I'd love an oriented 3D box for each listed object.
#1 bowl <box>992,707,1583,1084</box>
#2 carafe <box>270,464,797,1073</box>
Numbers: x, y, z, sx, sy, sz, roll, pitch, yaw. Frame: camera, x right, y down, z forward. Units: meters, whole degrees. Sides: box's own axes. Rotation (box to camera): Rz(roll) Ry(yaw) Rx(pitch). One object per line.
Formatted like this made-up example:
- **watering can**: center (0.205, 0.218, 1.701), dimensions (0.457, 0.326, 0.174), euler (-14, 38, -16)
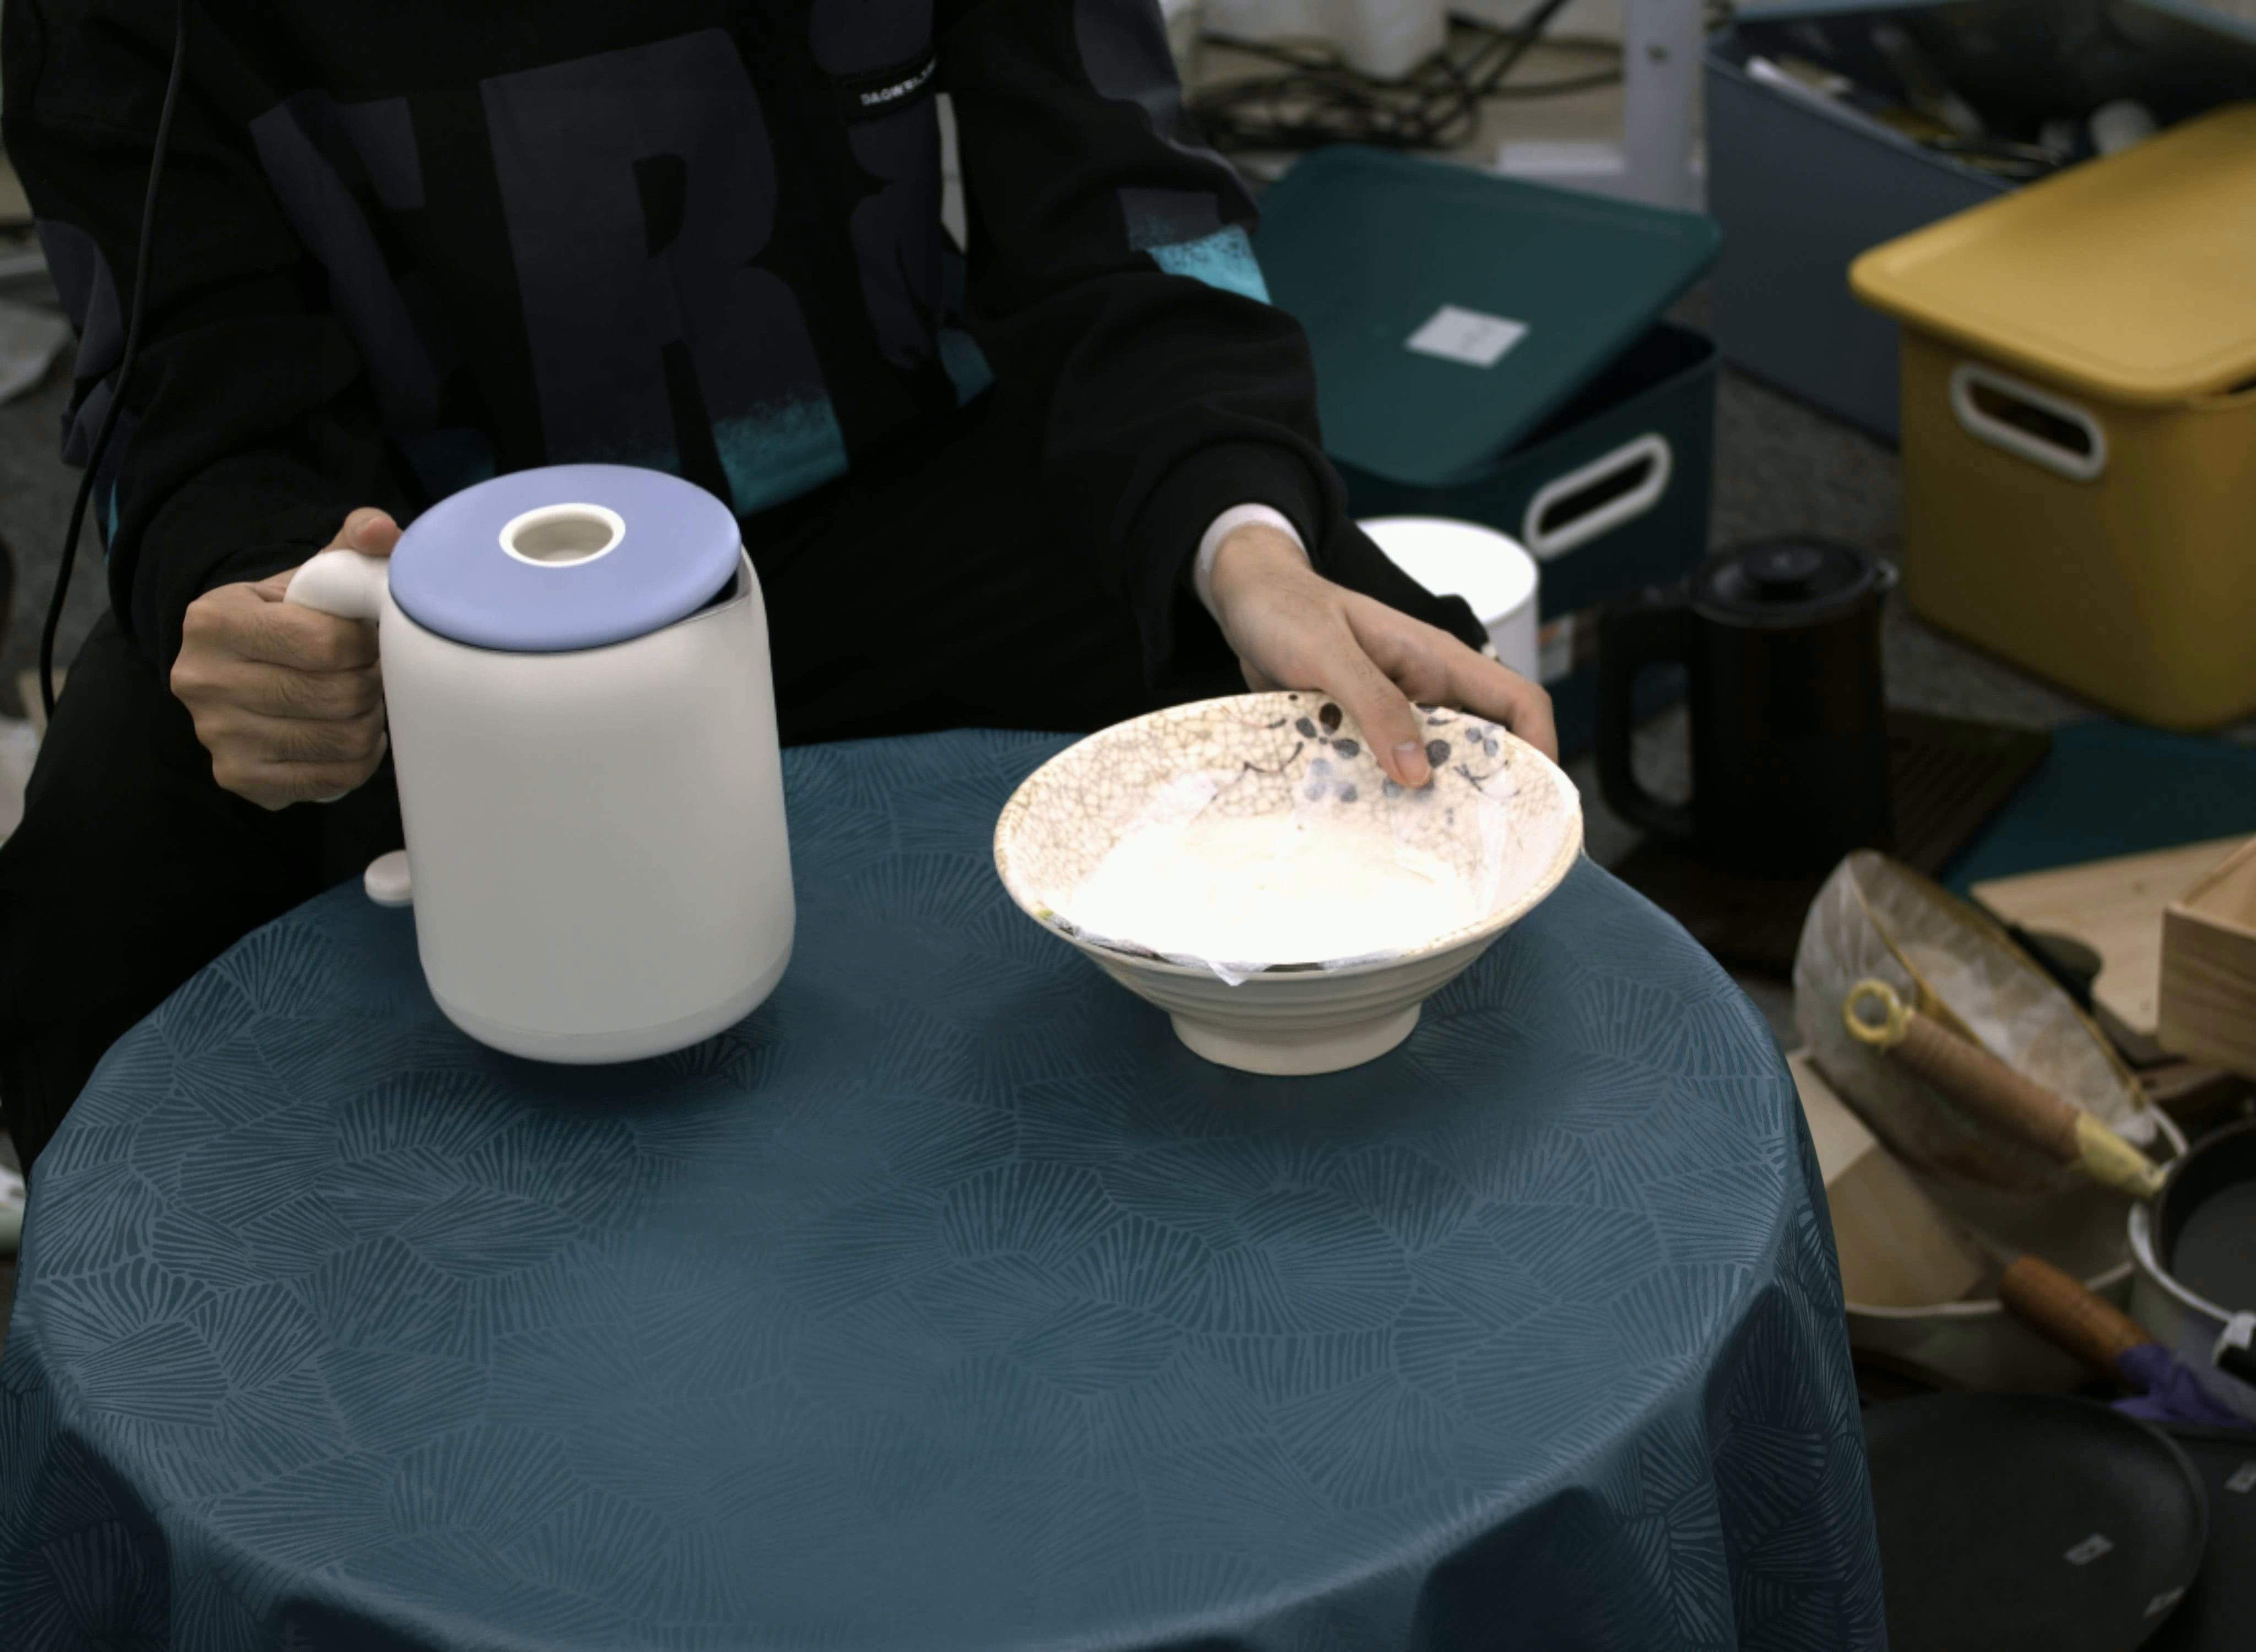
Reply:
- **bowl**: center (0.056, 0.035, 1.940), dimensions (0.203, 0.077, 0.207), euler (-2, 25, 1)
- **carafe**: center (-0.206, -0.023, 1.920), dimensions (0.190, 0.180, 0.134), euler (7, 31, 20)
